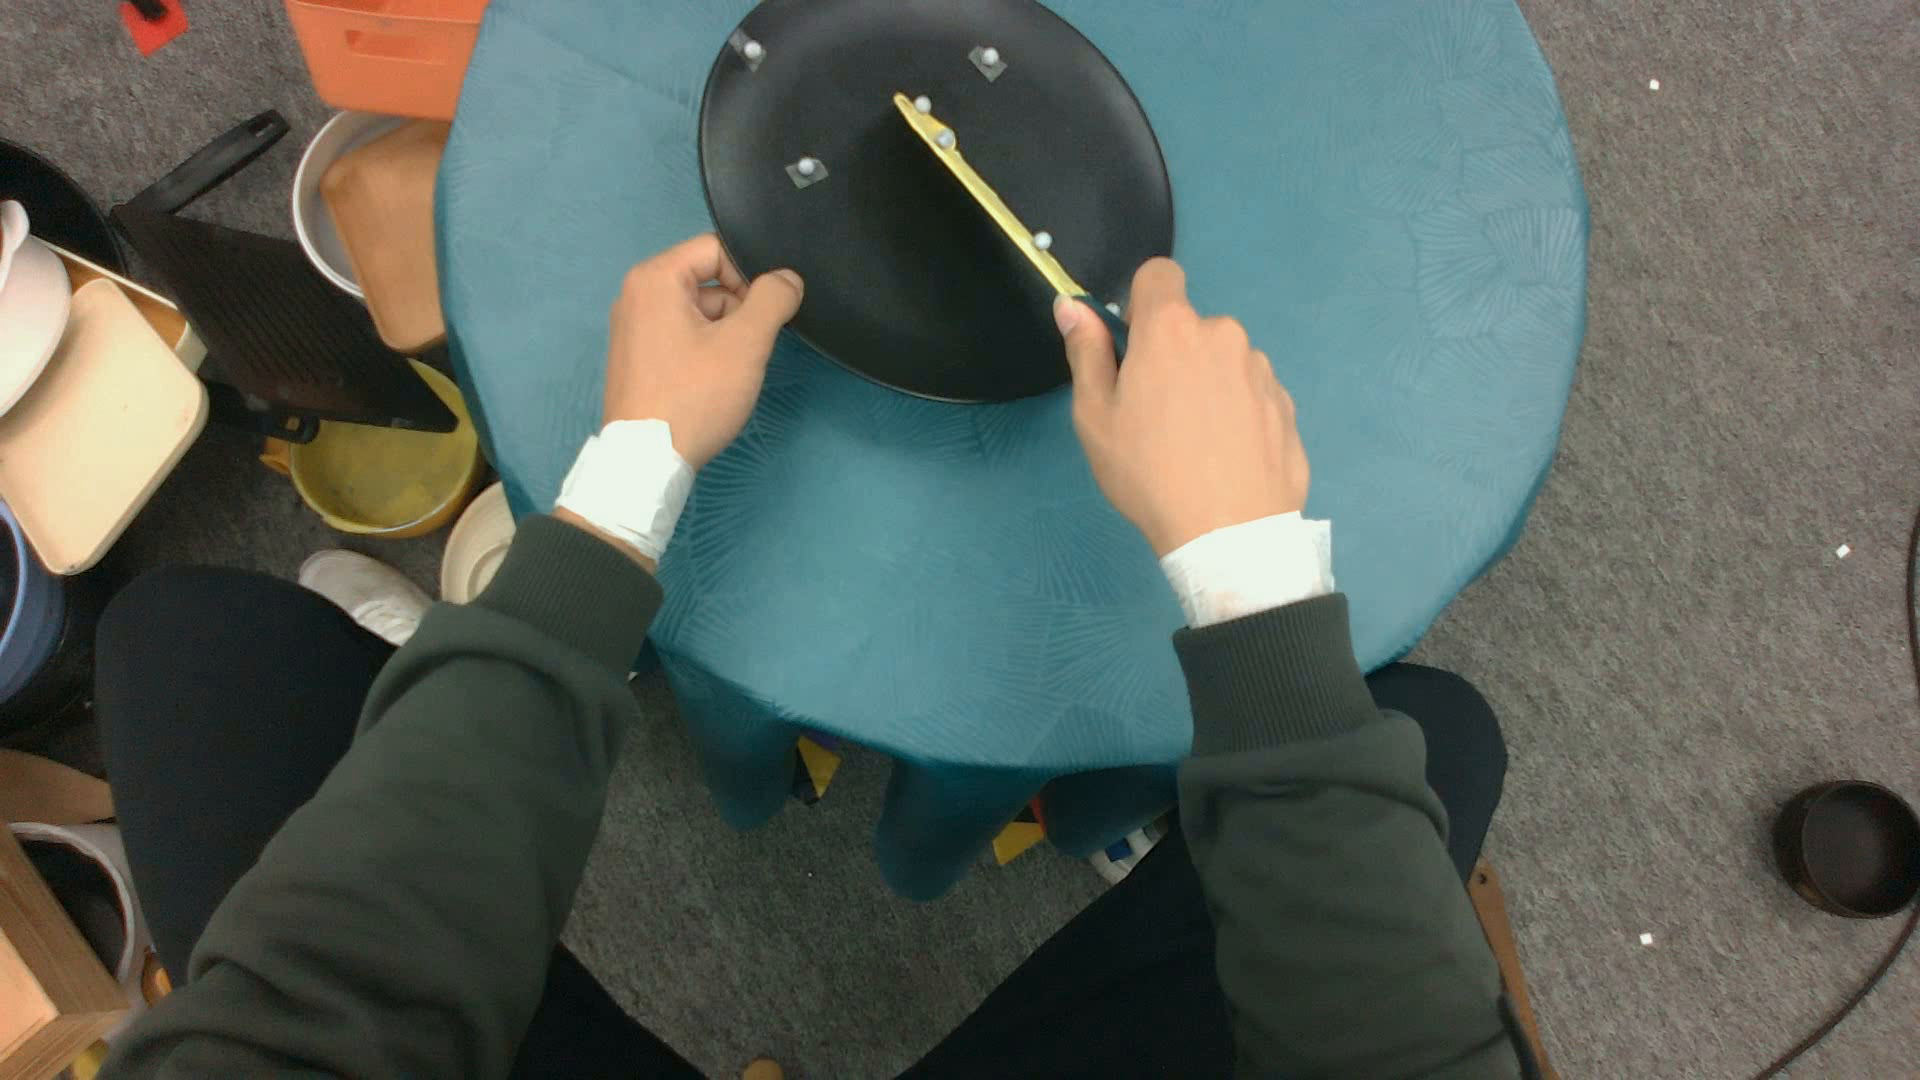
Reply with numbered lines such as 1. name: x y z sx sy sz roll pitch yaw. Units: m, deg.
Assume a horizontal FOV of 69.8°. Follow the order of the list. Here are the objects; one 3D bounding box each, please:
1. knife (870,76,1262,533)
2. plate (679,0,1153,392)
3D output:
1. knife: 0.043 -0.116 0.633 0.027 0.081 0.290 -43 72 17
2. plate: -0.018 -0.183 0.686 0.245 0.023 0.245 6 70 -17
